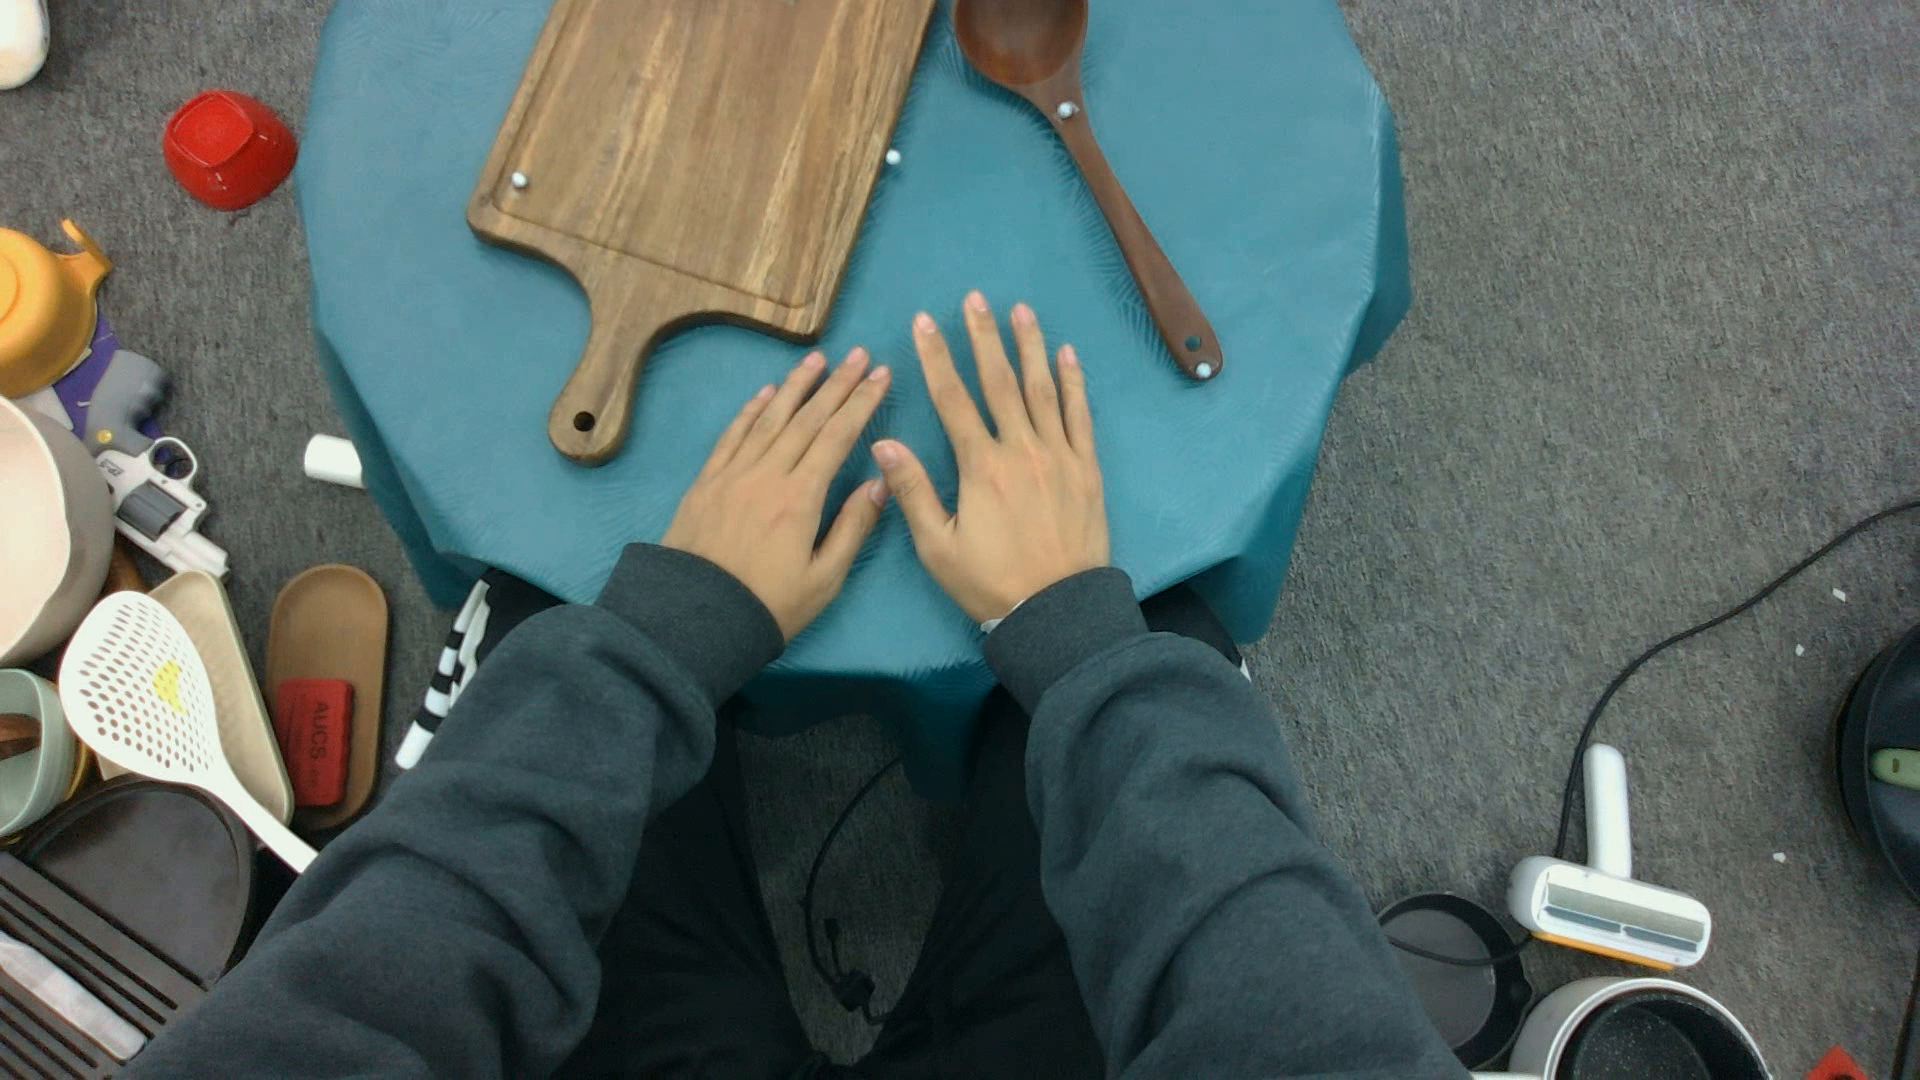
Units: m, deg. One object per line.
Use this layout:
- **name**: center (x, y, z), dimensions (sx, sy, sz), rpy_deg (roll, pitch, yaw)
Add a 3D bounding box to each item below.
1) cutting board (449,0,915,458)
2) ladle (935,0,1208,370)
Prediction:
- **cutting board**: center (-0.156, -0.210, 0.745), dimensions (0.201, 0.023, 0.353), rpy_deg (17, 76, -1)
- **ladle**: center (0.066, -0.211, 0.748), dimensions (0.076, 0.065, 0.260), rpy_deg (-28, 82, 14)
